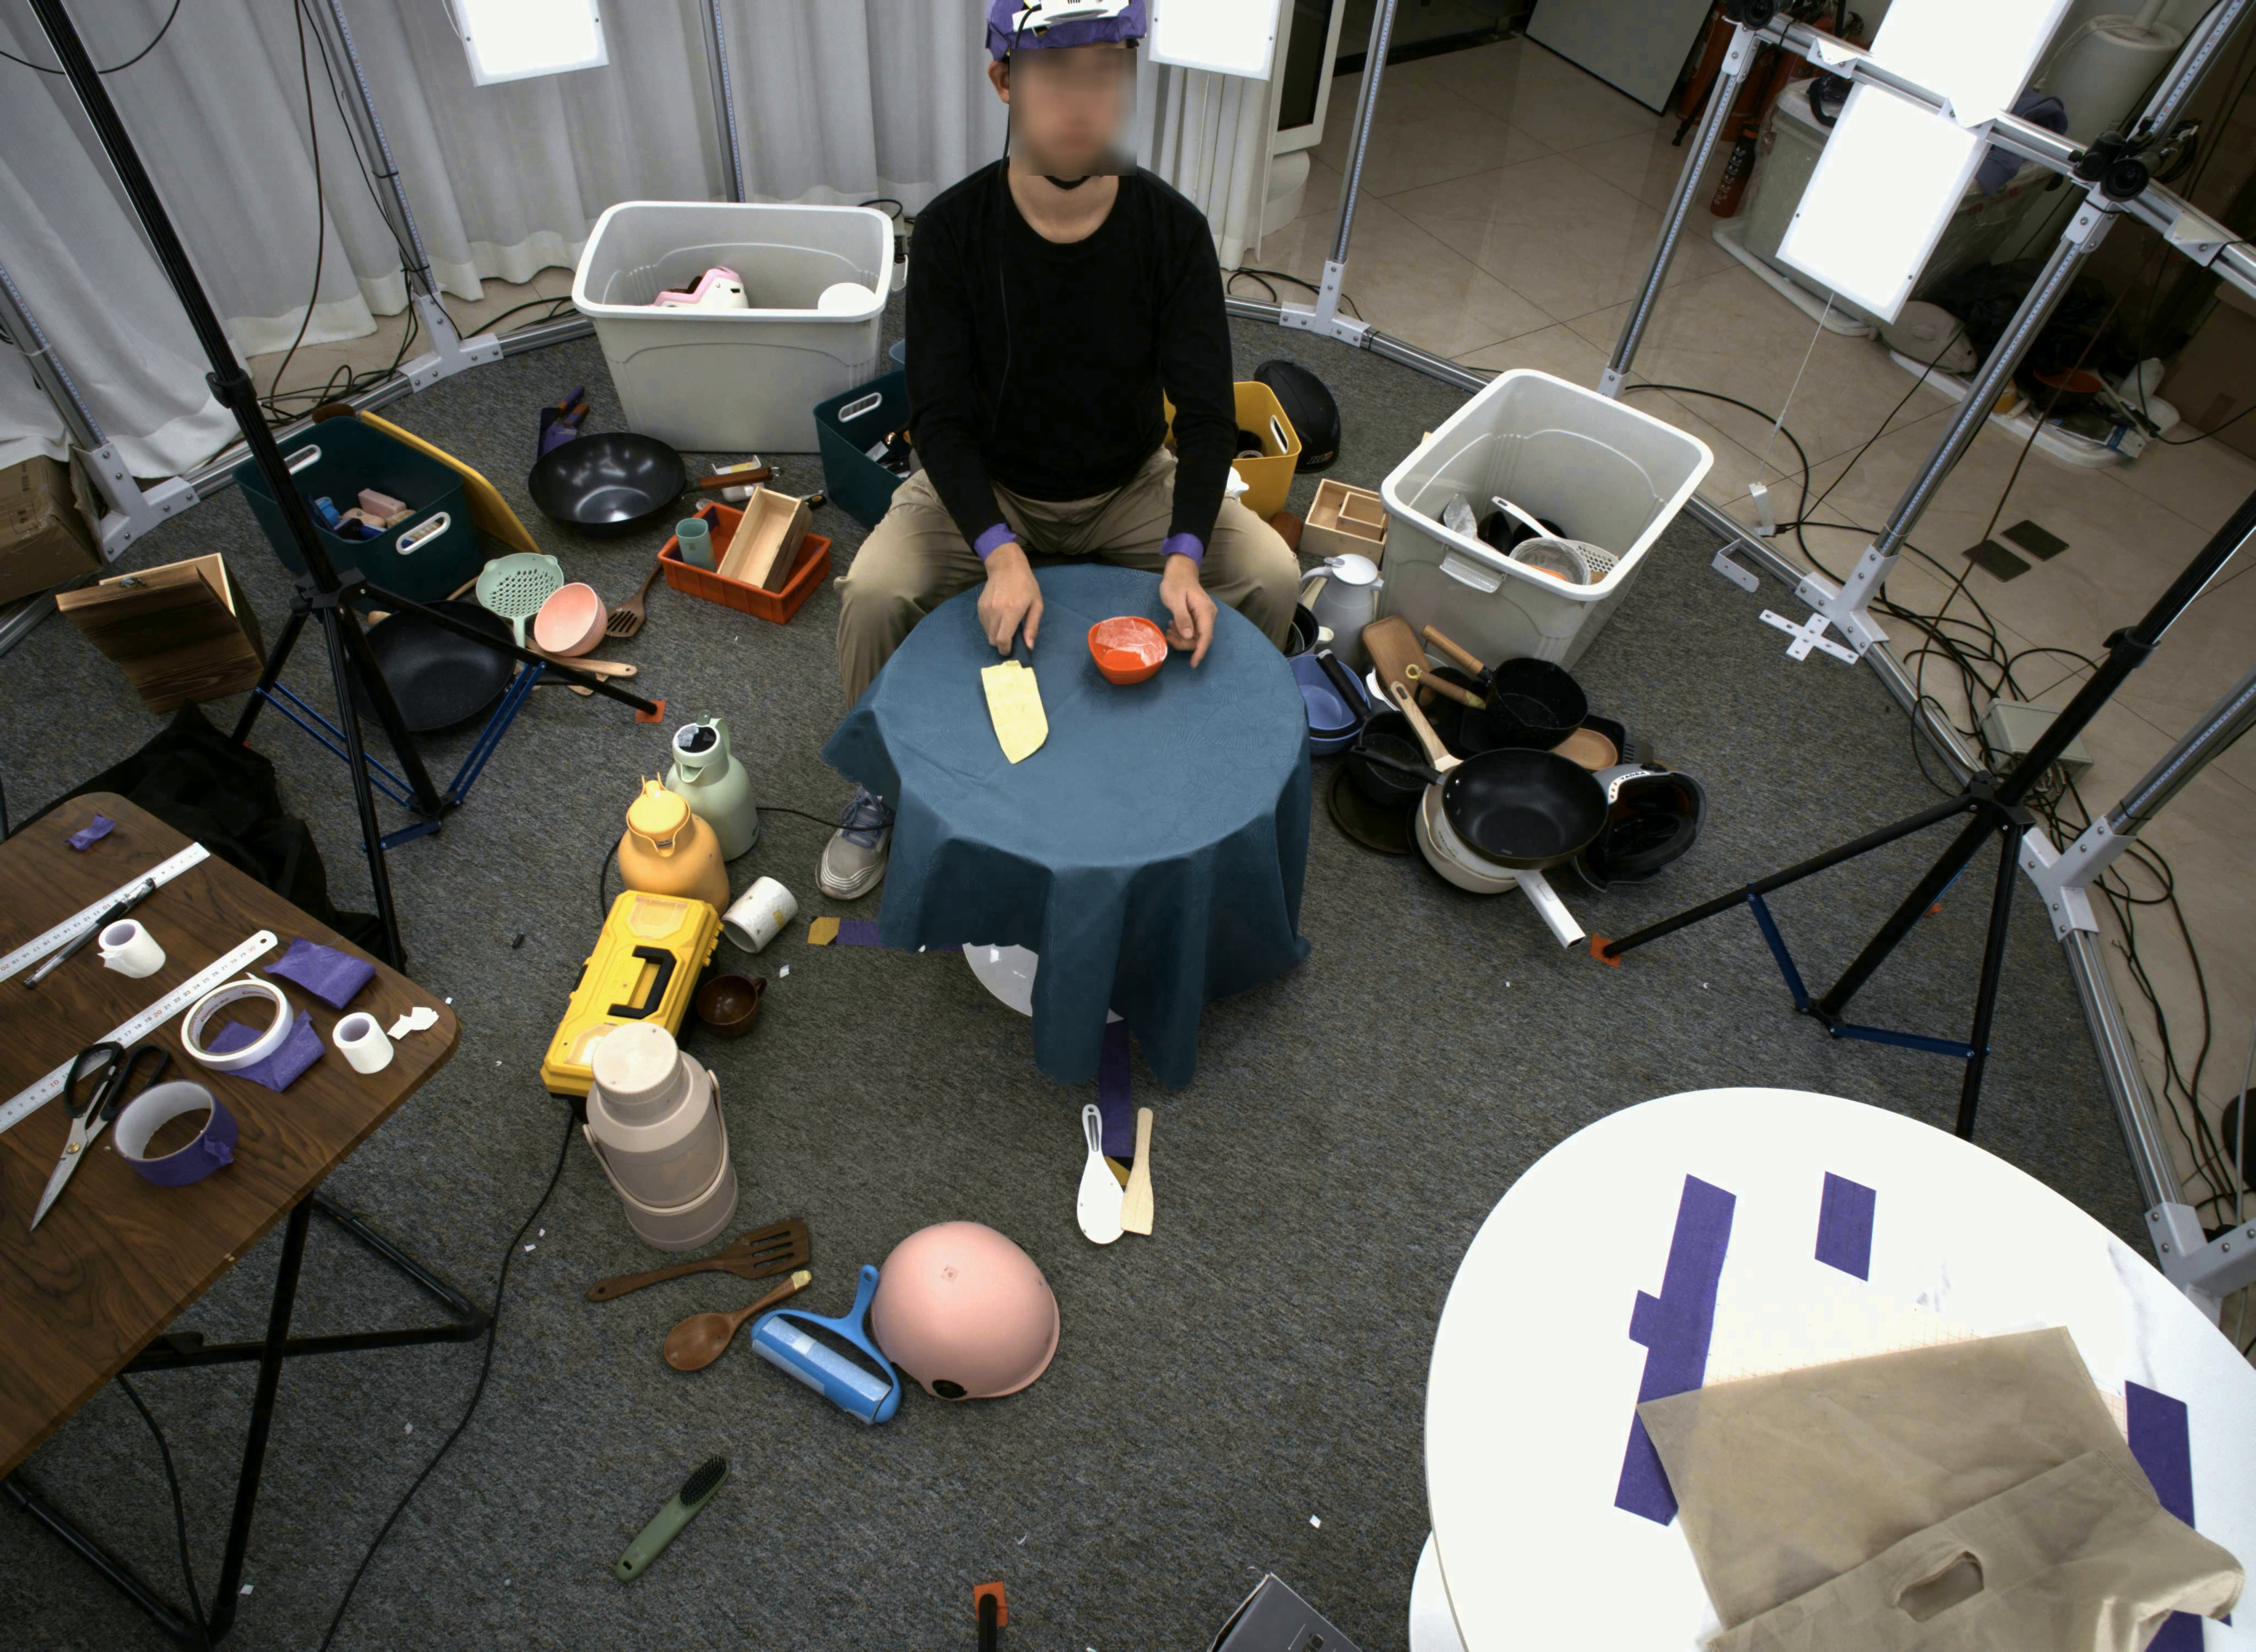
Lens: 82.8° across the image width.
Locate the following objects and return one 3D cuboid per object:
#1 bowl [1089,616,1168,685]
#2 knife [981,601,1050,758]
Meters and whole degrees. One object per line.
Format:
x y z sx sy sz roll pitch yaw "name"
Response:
-0.001 -0.247 1.849 0.119 0.050 0.122 1 51 -1 "bowl"
-0.166 -0.210 1.819 0.081 0.026 0.296 -8 54 -7 "knife"
